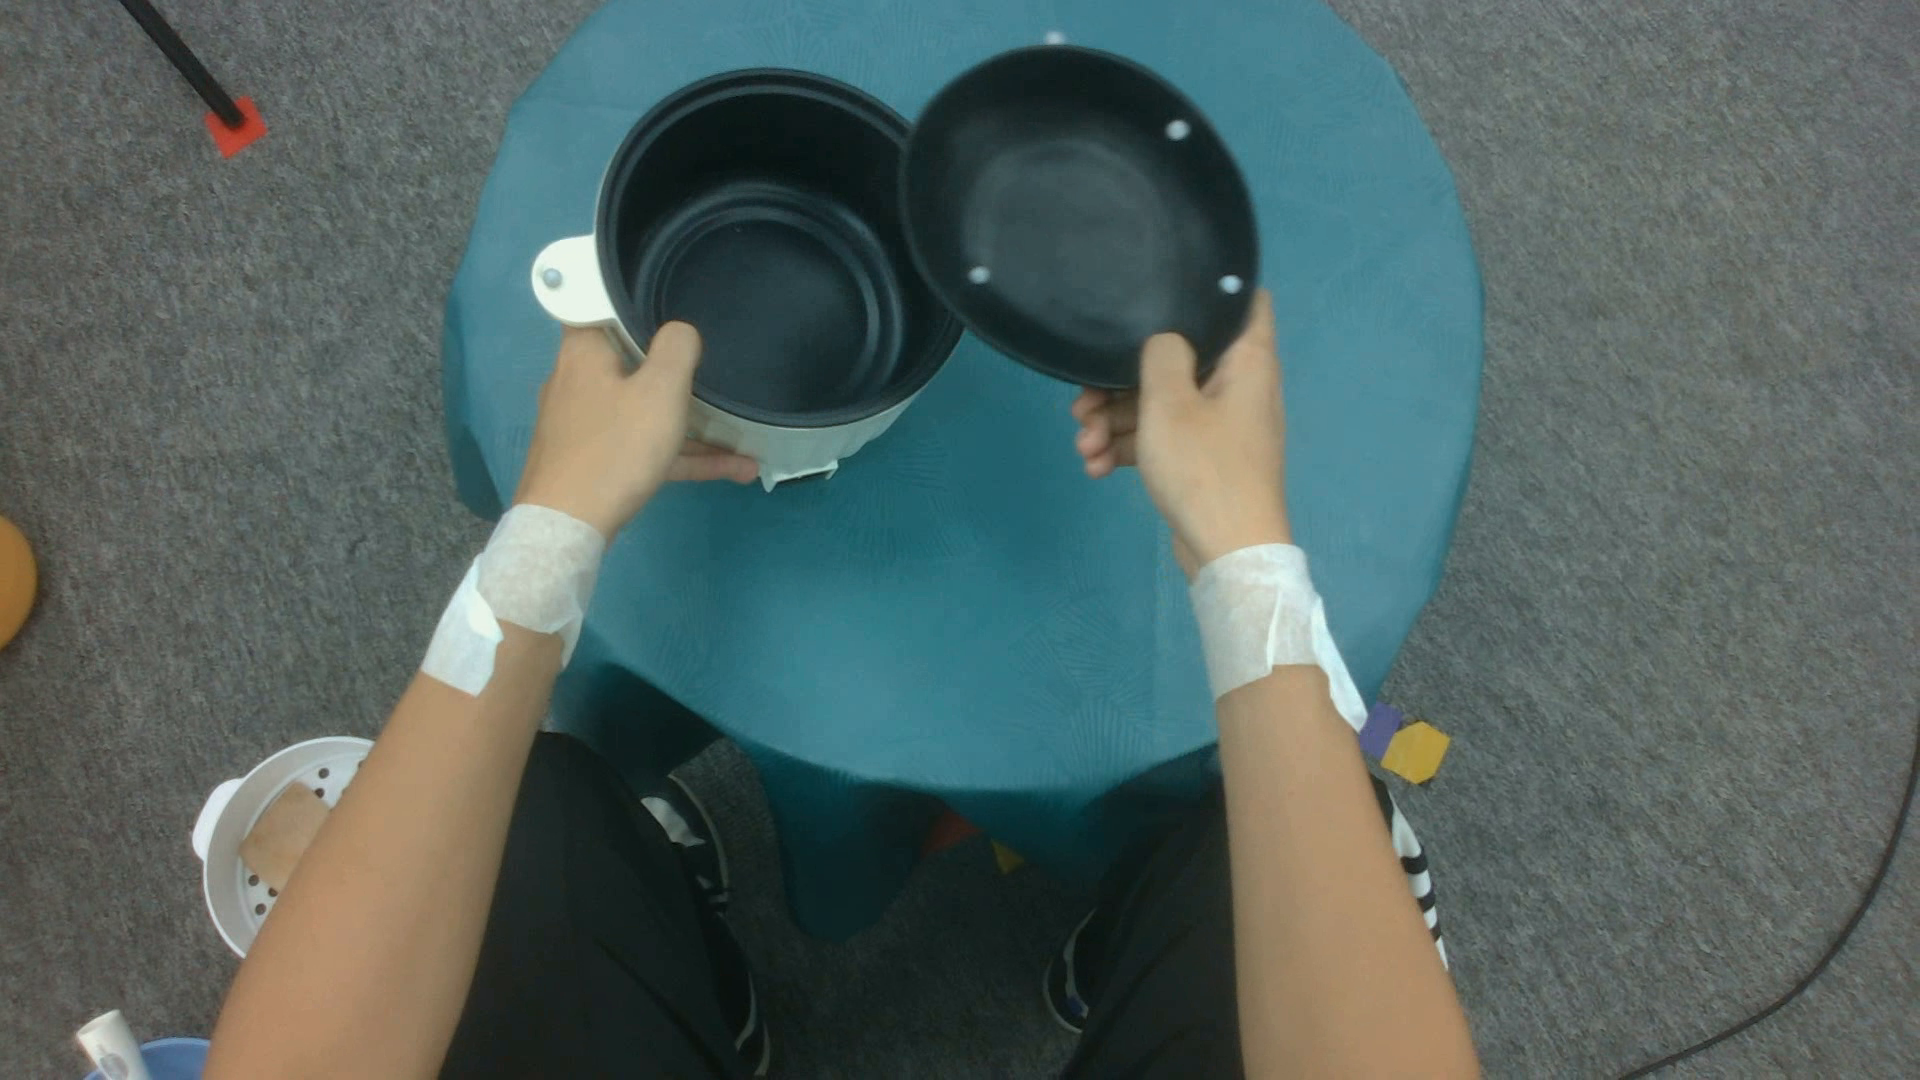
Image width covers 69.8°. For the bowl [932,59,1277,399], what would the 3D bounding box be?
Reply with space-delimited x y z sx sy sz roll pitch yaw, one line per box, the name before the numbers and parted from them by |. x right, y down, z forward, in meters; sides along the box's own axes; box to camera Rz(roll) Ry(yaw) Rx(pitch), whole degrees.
bowl | 0.069 -0.139 0.639 0.170 0.067 0.137 40 96 8

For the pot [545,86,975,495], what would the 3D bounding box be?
pot | -0.099 -0.129 0.728 0.241 0.142 0.190 -15 85 -19
